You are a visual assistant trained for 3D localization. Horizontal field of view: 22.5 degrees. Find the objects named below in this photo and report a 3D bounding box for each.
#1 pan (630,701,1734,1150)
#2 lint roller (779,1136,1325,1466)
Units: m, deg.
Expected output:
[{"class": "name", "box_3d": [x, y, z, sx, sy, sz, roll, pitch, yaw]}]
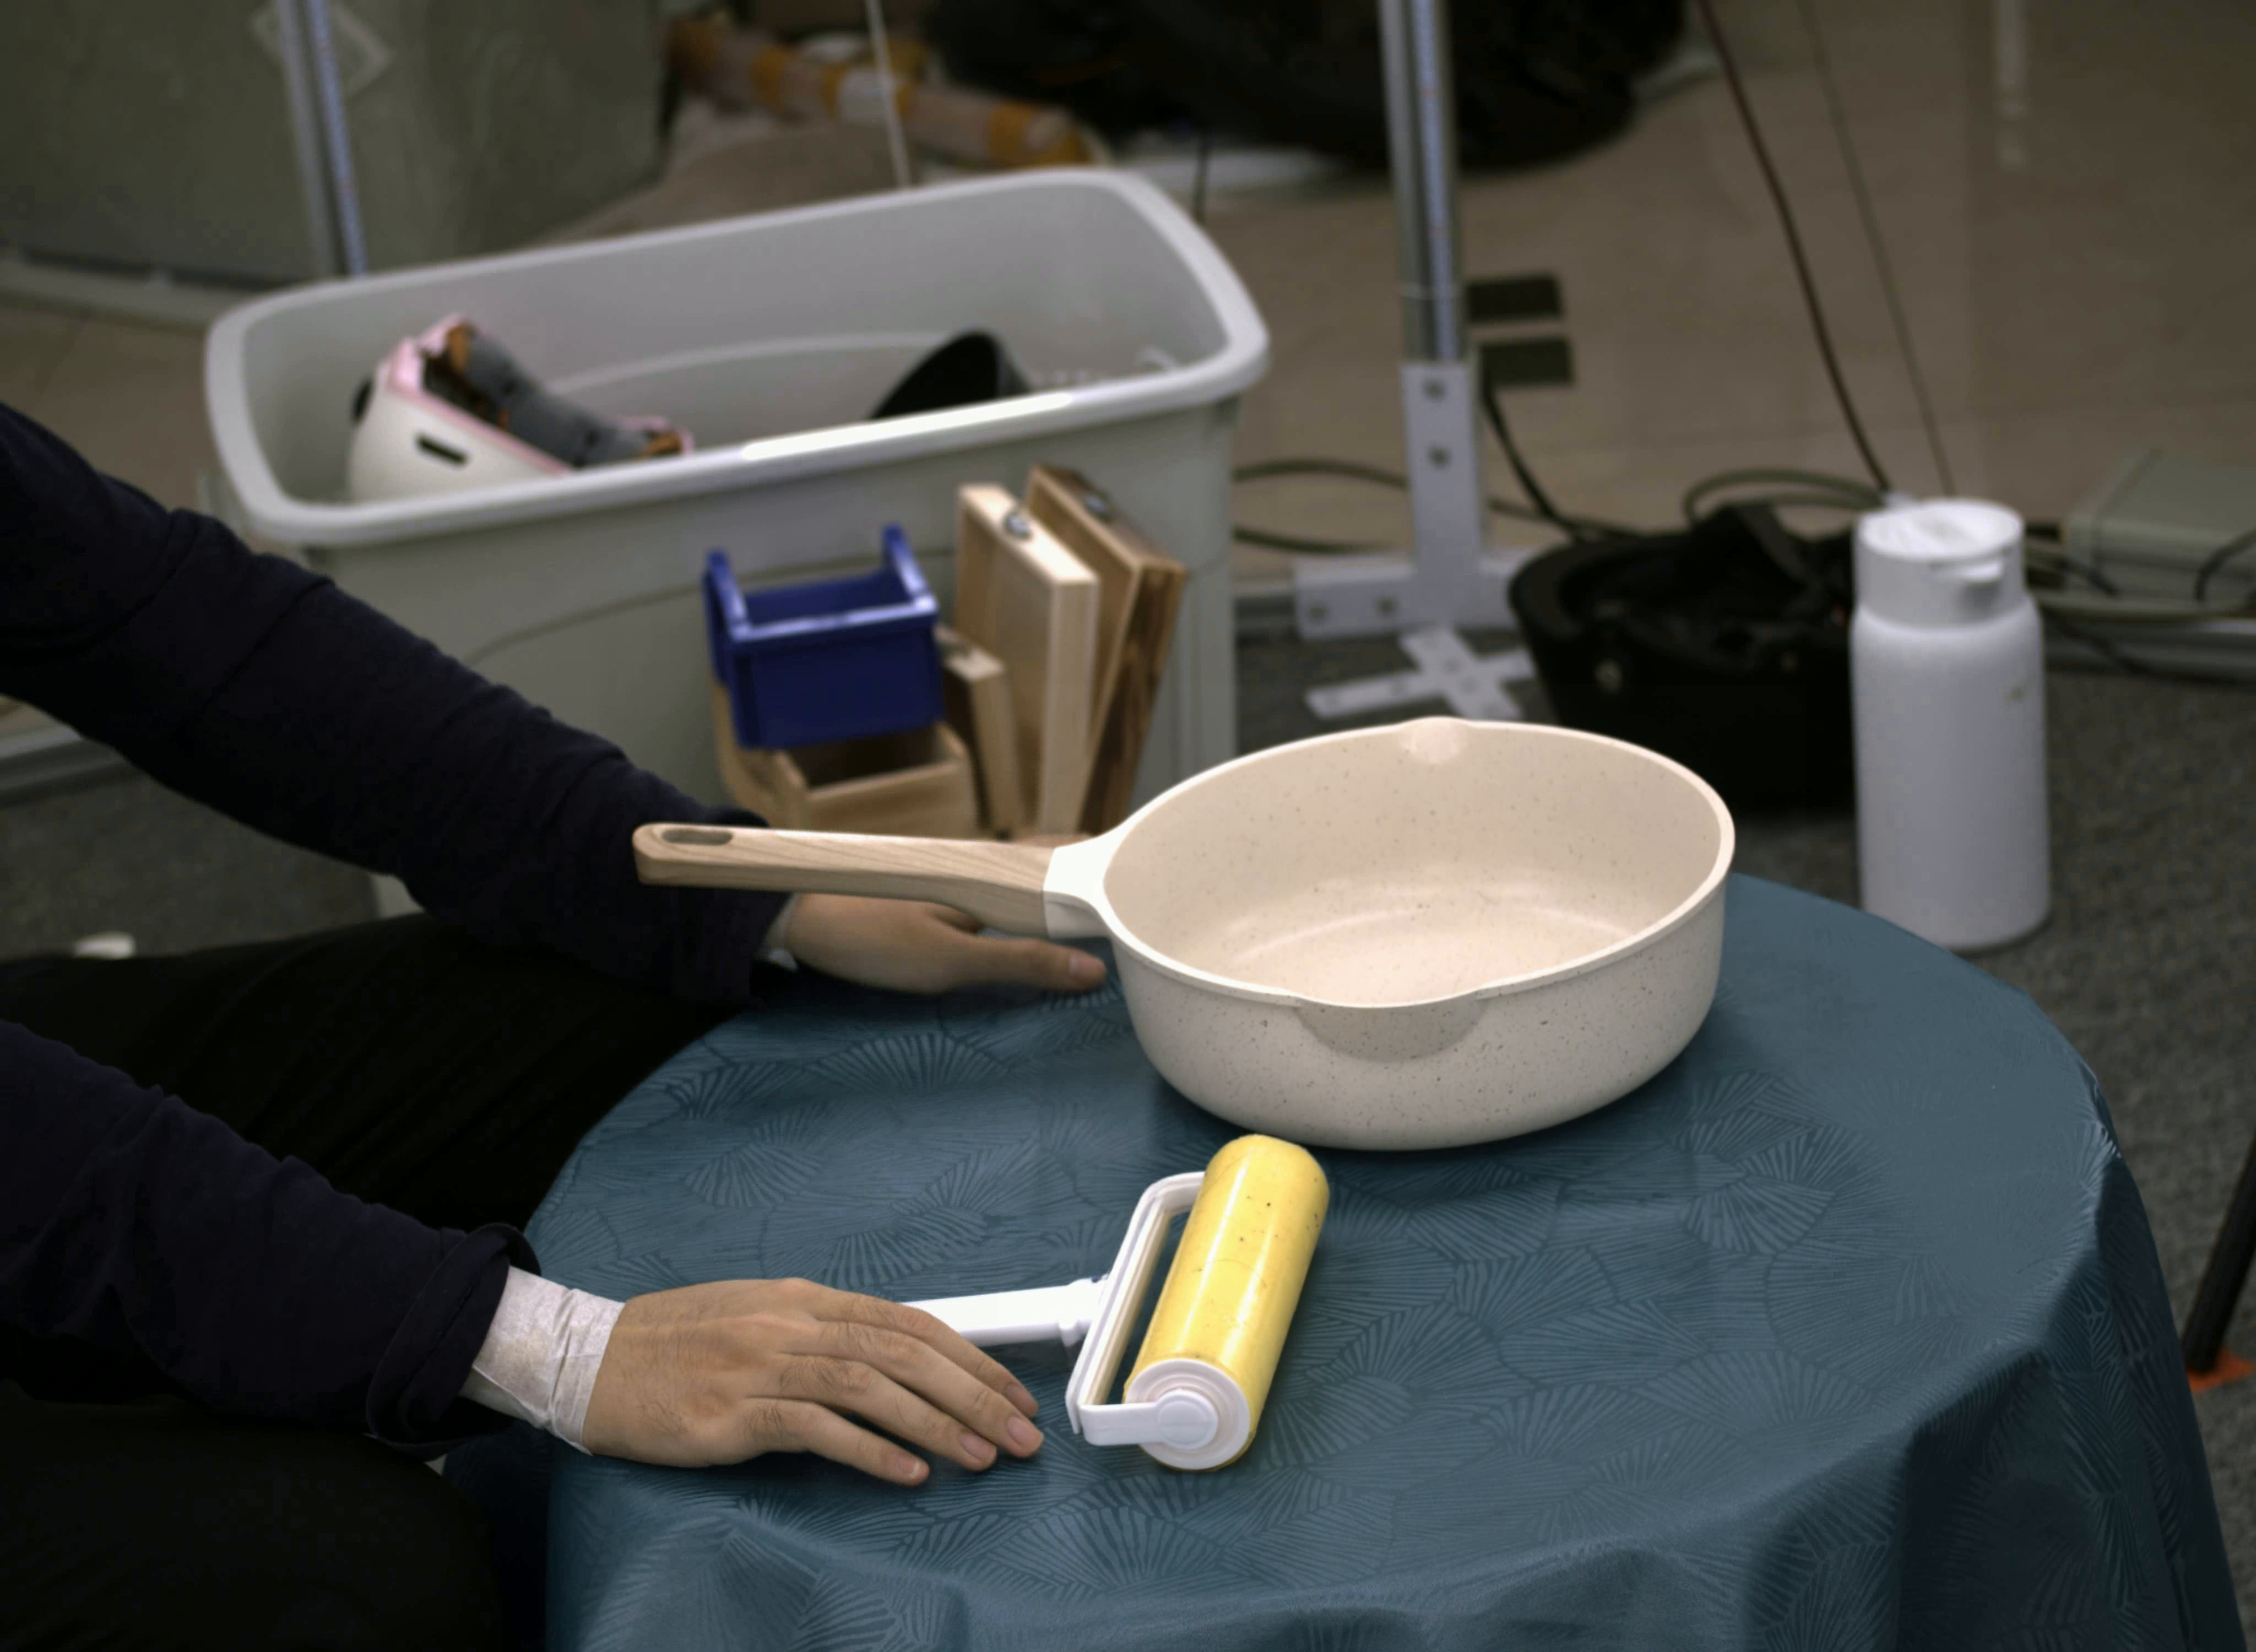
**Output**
[{"class": "pan", "box_3d": [0.023, 0.042, 2.237, 0.434, 0.104, 0.259, -3, 28, 9]}, {"class": "lint roller", "box_3d": [-0.035, 0.172, 2.036, 0.192, 0.052, 0.172, -2, 25, 12]}]
